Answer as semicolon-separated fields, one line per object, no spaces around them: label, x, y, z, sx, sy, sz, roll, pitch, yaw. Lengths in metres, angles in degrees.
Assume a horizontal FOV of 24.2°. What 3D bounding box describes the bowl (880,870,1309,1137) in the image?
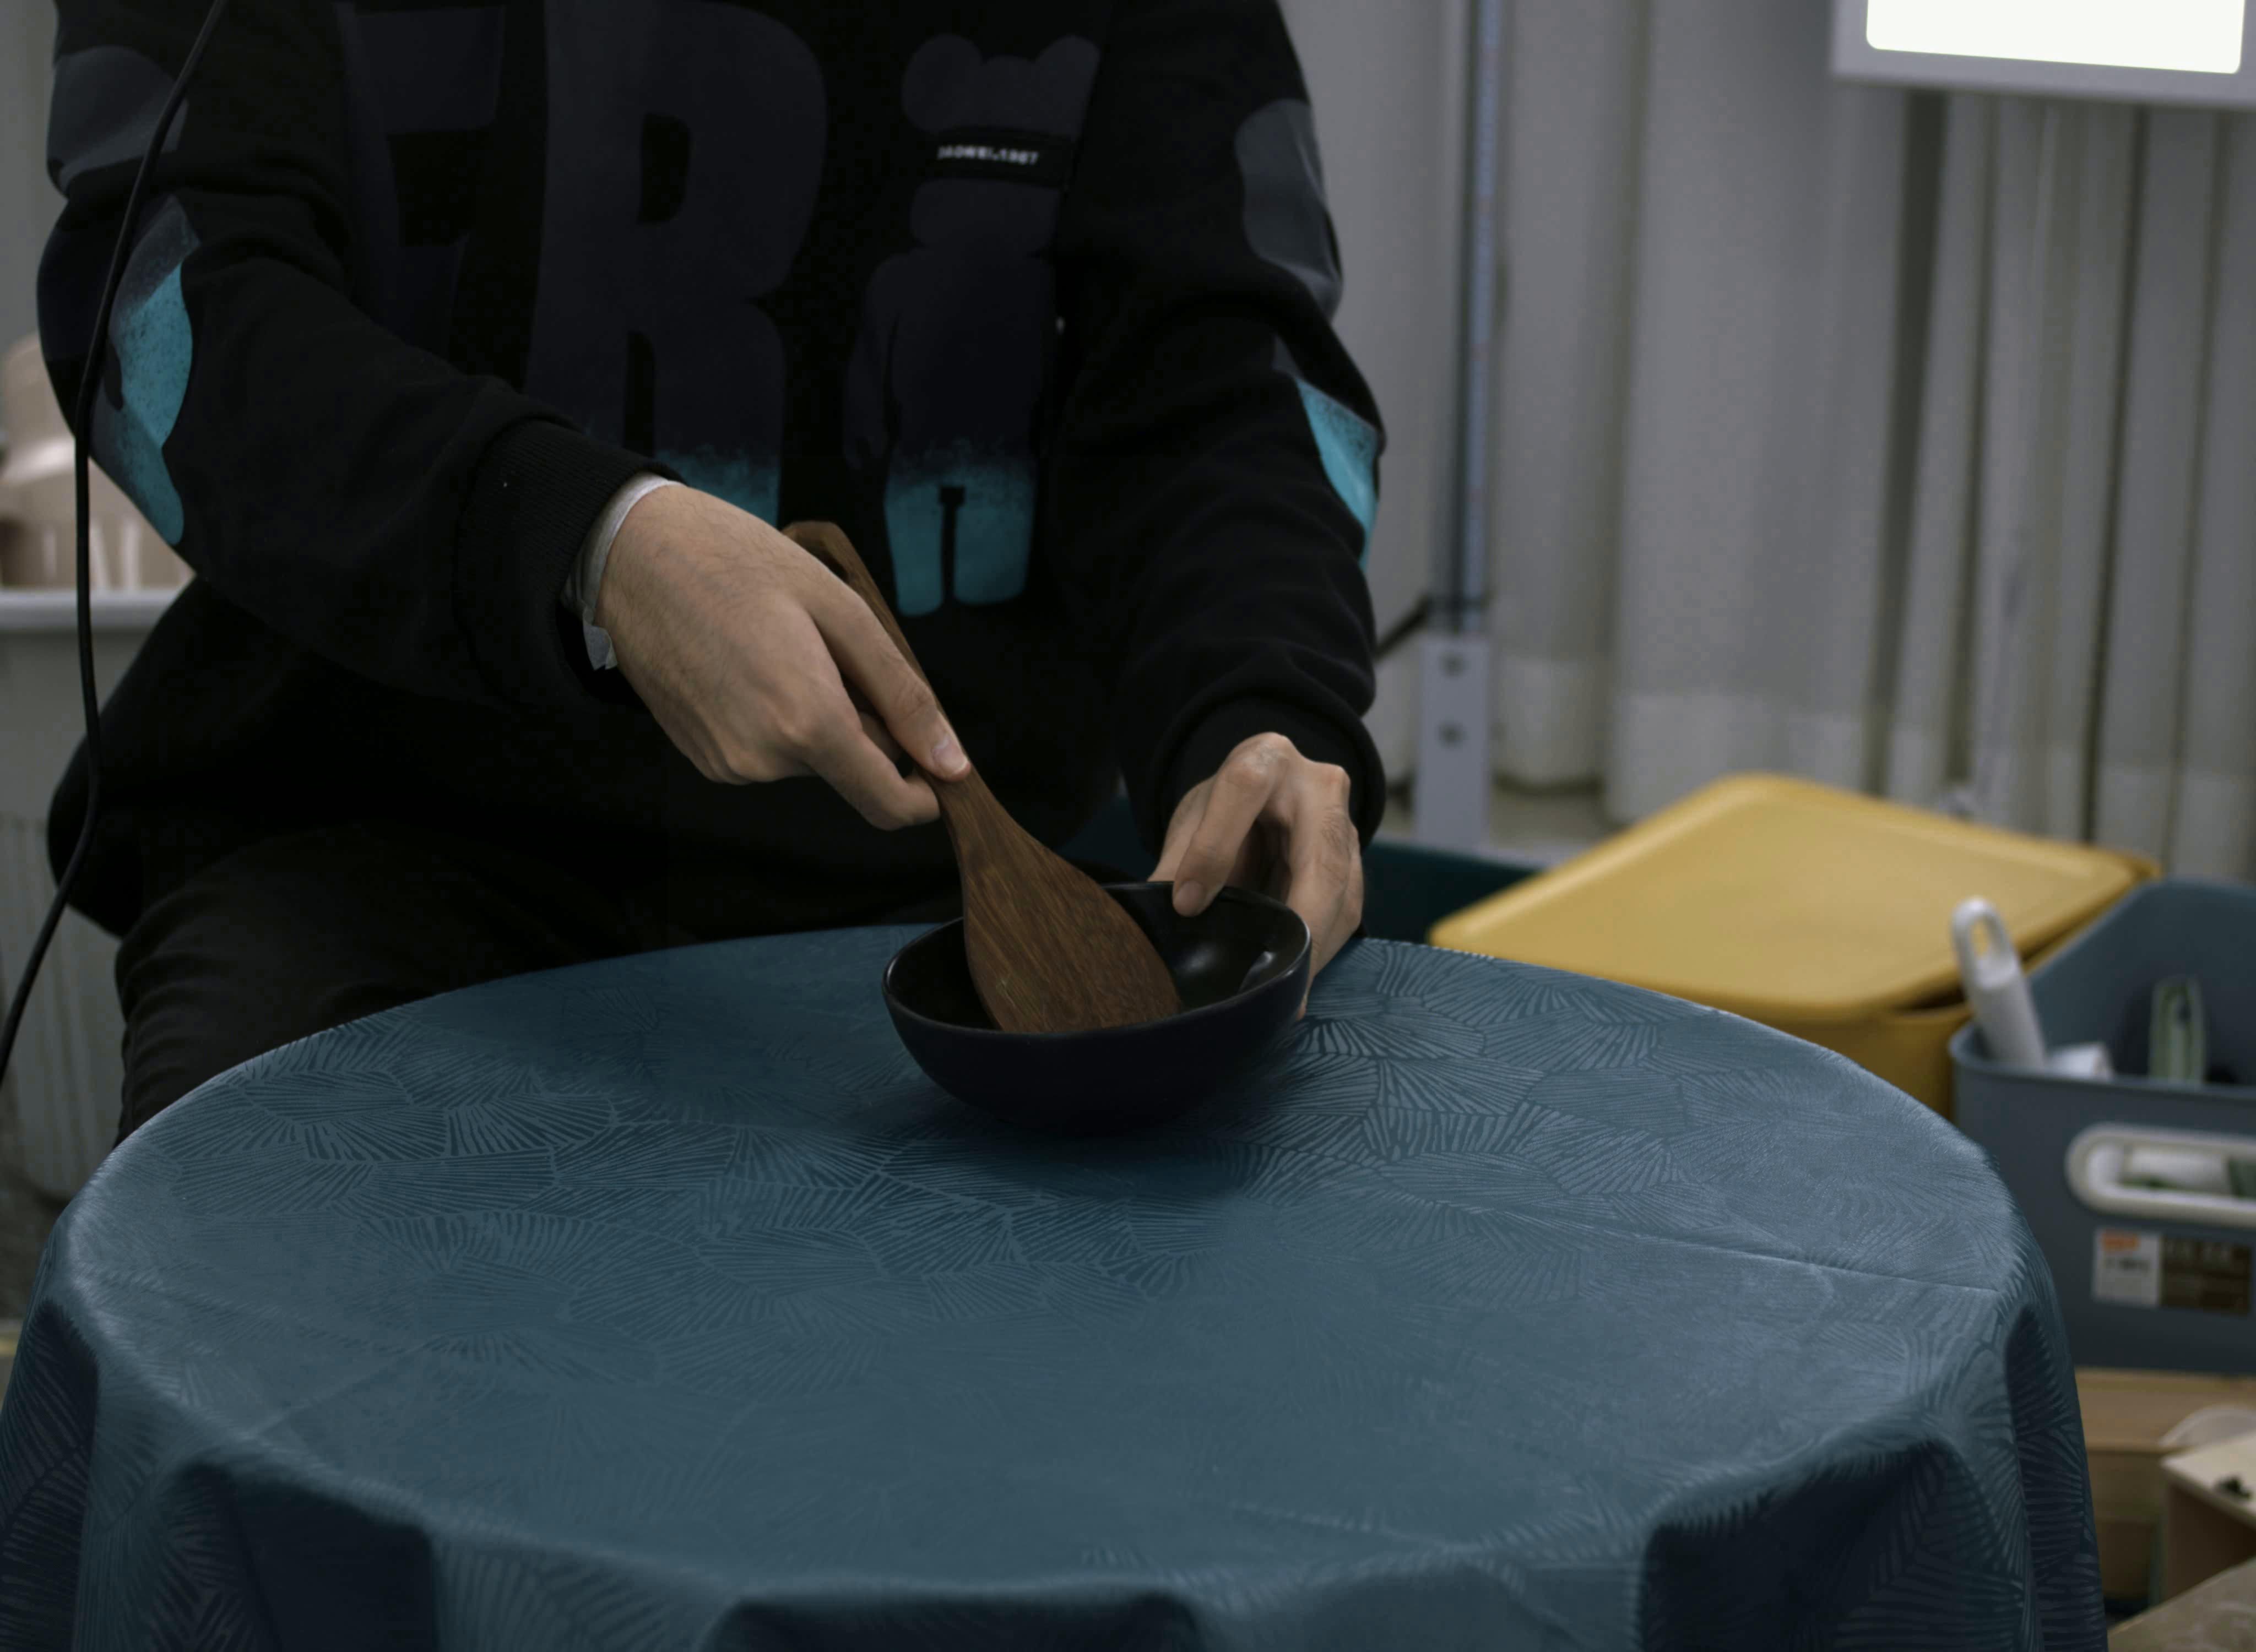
bowl;-0.008;0.063;1.688;0.139;0.050;0.139;-7;21;3

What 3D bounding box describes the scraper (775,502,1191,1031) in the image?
scraper;-0.055;-0.013;1.715;0.076;0.211;0.011;-28;-5;-40
